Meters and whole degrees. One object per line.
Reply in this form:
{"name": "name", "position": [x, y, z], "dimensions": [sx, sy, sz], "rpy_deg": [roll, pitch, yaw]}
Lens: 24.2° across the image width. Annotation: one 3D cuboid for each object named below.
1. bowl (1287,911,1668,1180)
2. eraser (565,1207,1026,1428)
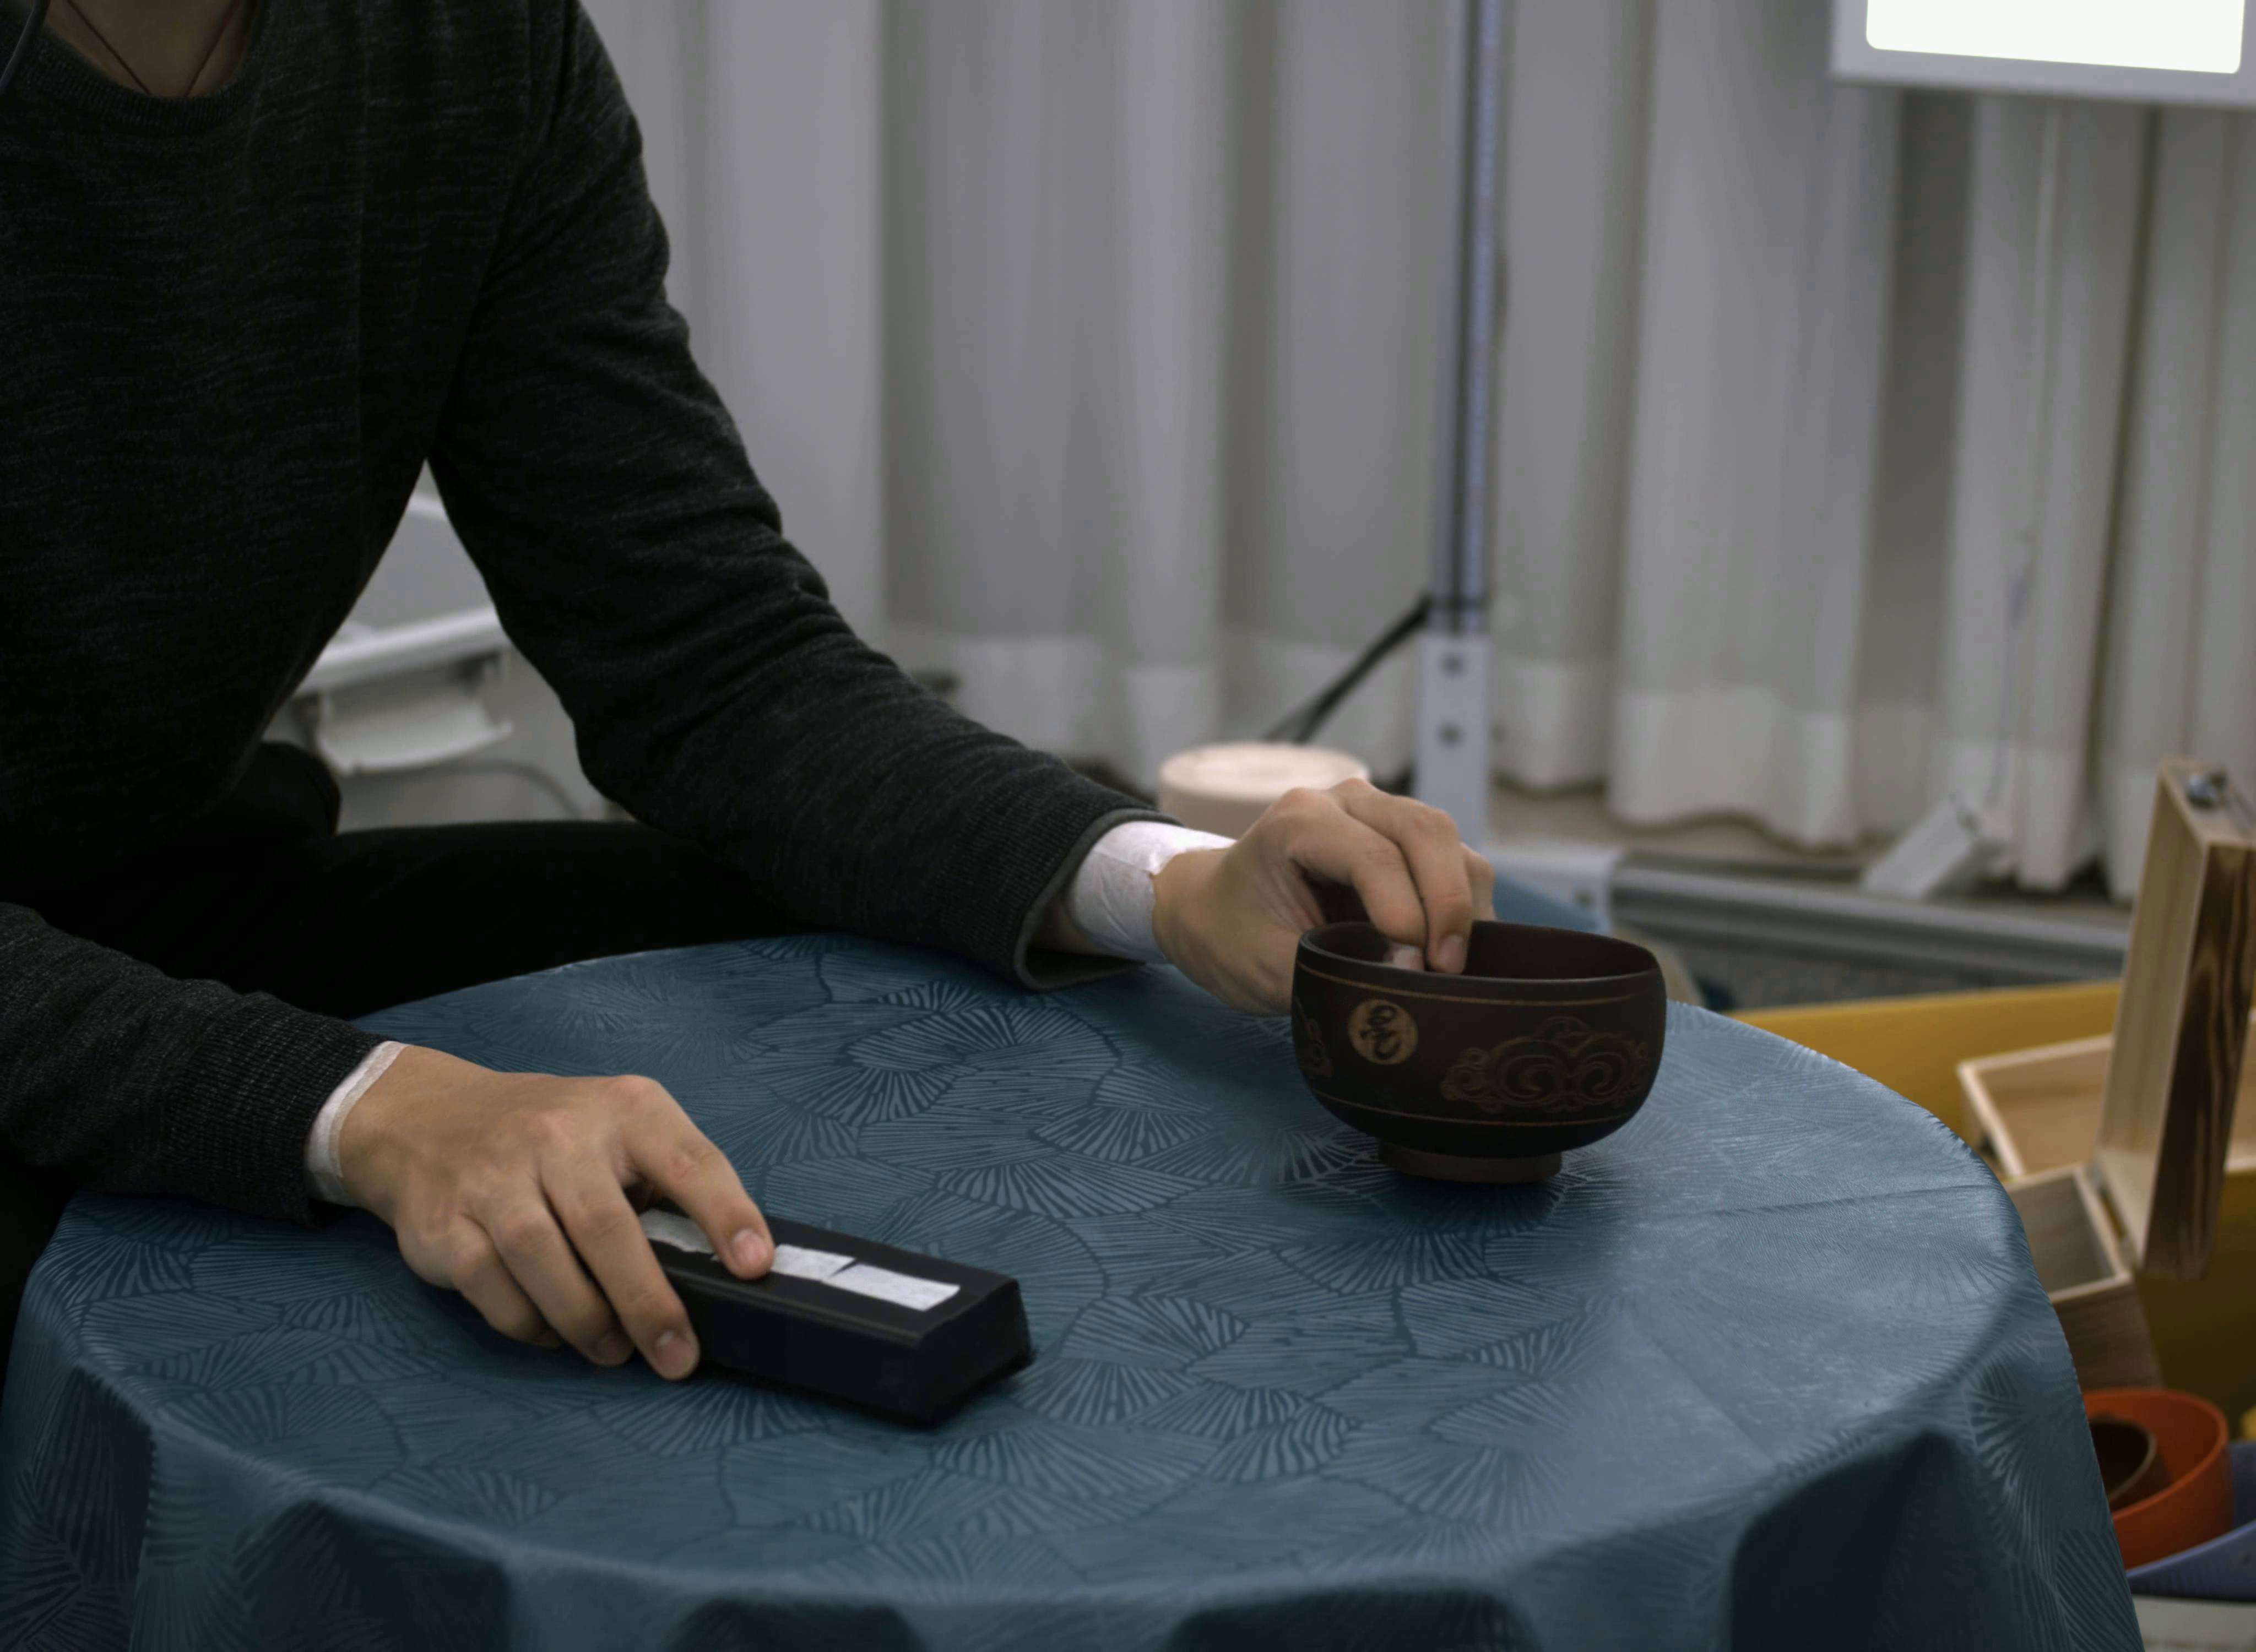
{"name": "bowl", "position": [0.107, 0.070, 1.630], "dimensions": [0.117, 0.070, 0.117], "rpy_deg": [3, 9, 0]}
{"name": "eraser", "position": [-0.093, 0.136, 1.473], "dimensions": [0.124, 0.031, 0.054], "rpy_deg": [10, 19, 30]}
